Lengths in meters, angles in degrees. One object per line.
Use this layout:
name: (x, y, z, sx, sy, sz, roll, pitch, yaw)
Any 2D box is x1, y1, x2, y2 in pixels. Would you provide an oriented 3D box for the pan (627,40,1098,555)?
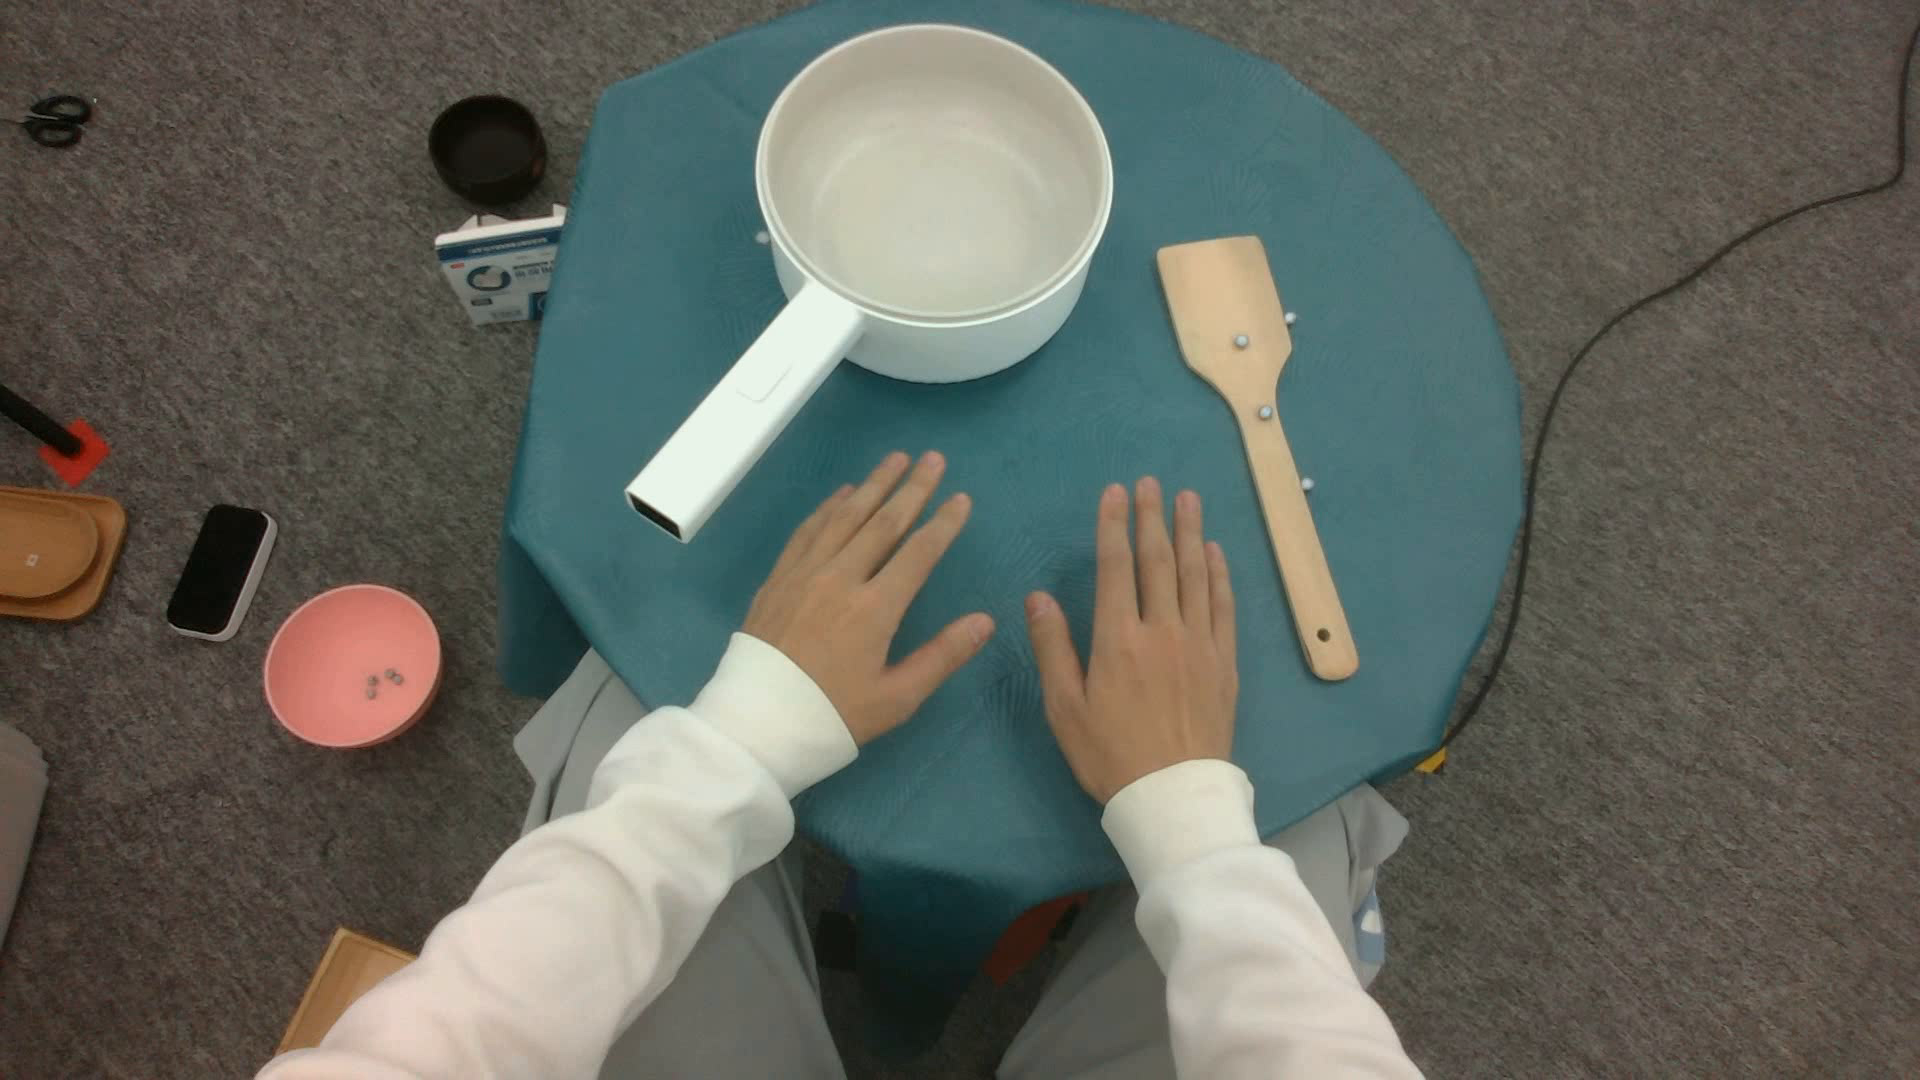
pan: (-0.063, -0.130, 0.805, 0.201, 0.102, 0.356, 31, 70, 9)

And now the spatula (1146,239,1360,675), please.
spatula: (0.185, -0.057, 0.836, 0.072, 0.010, 0.294, -11, 68, -8)
